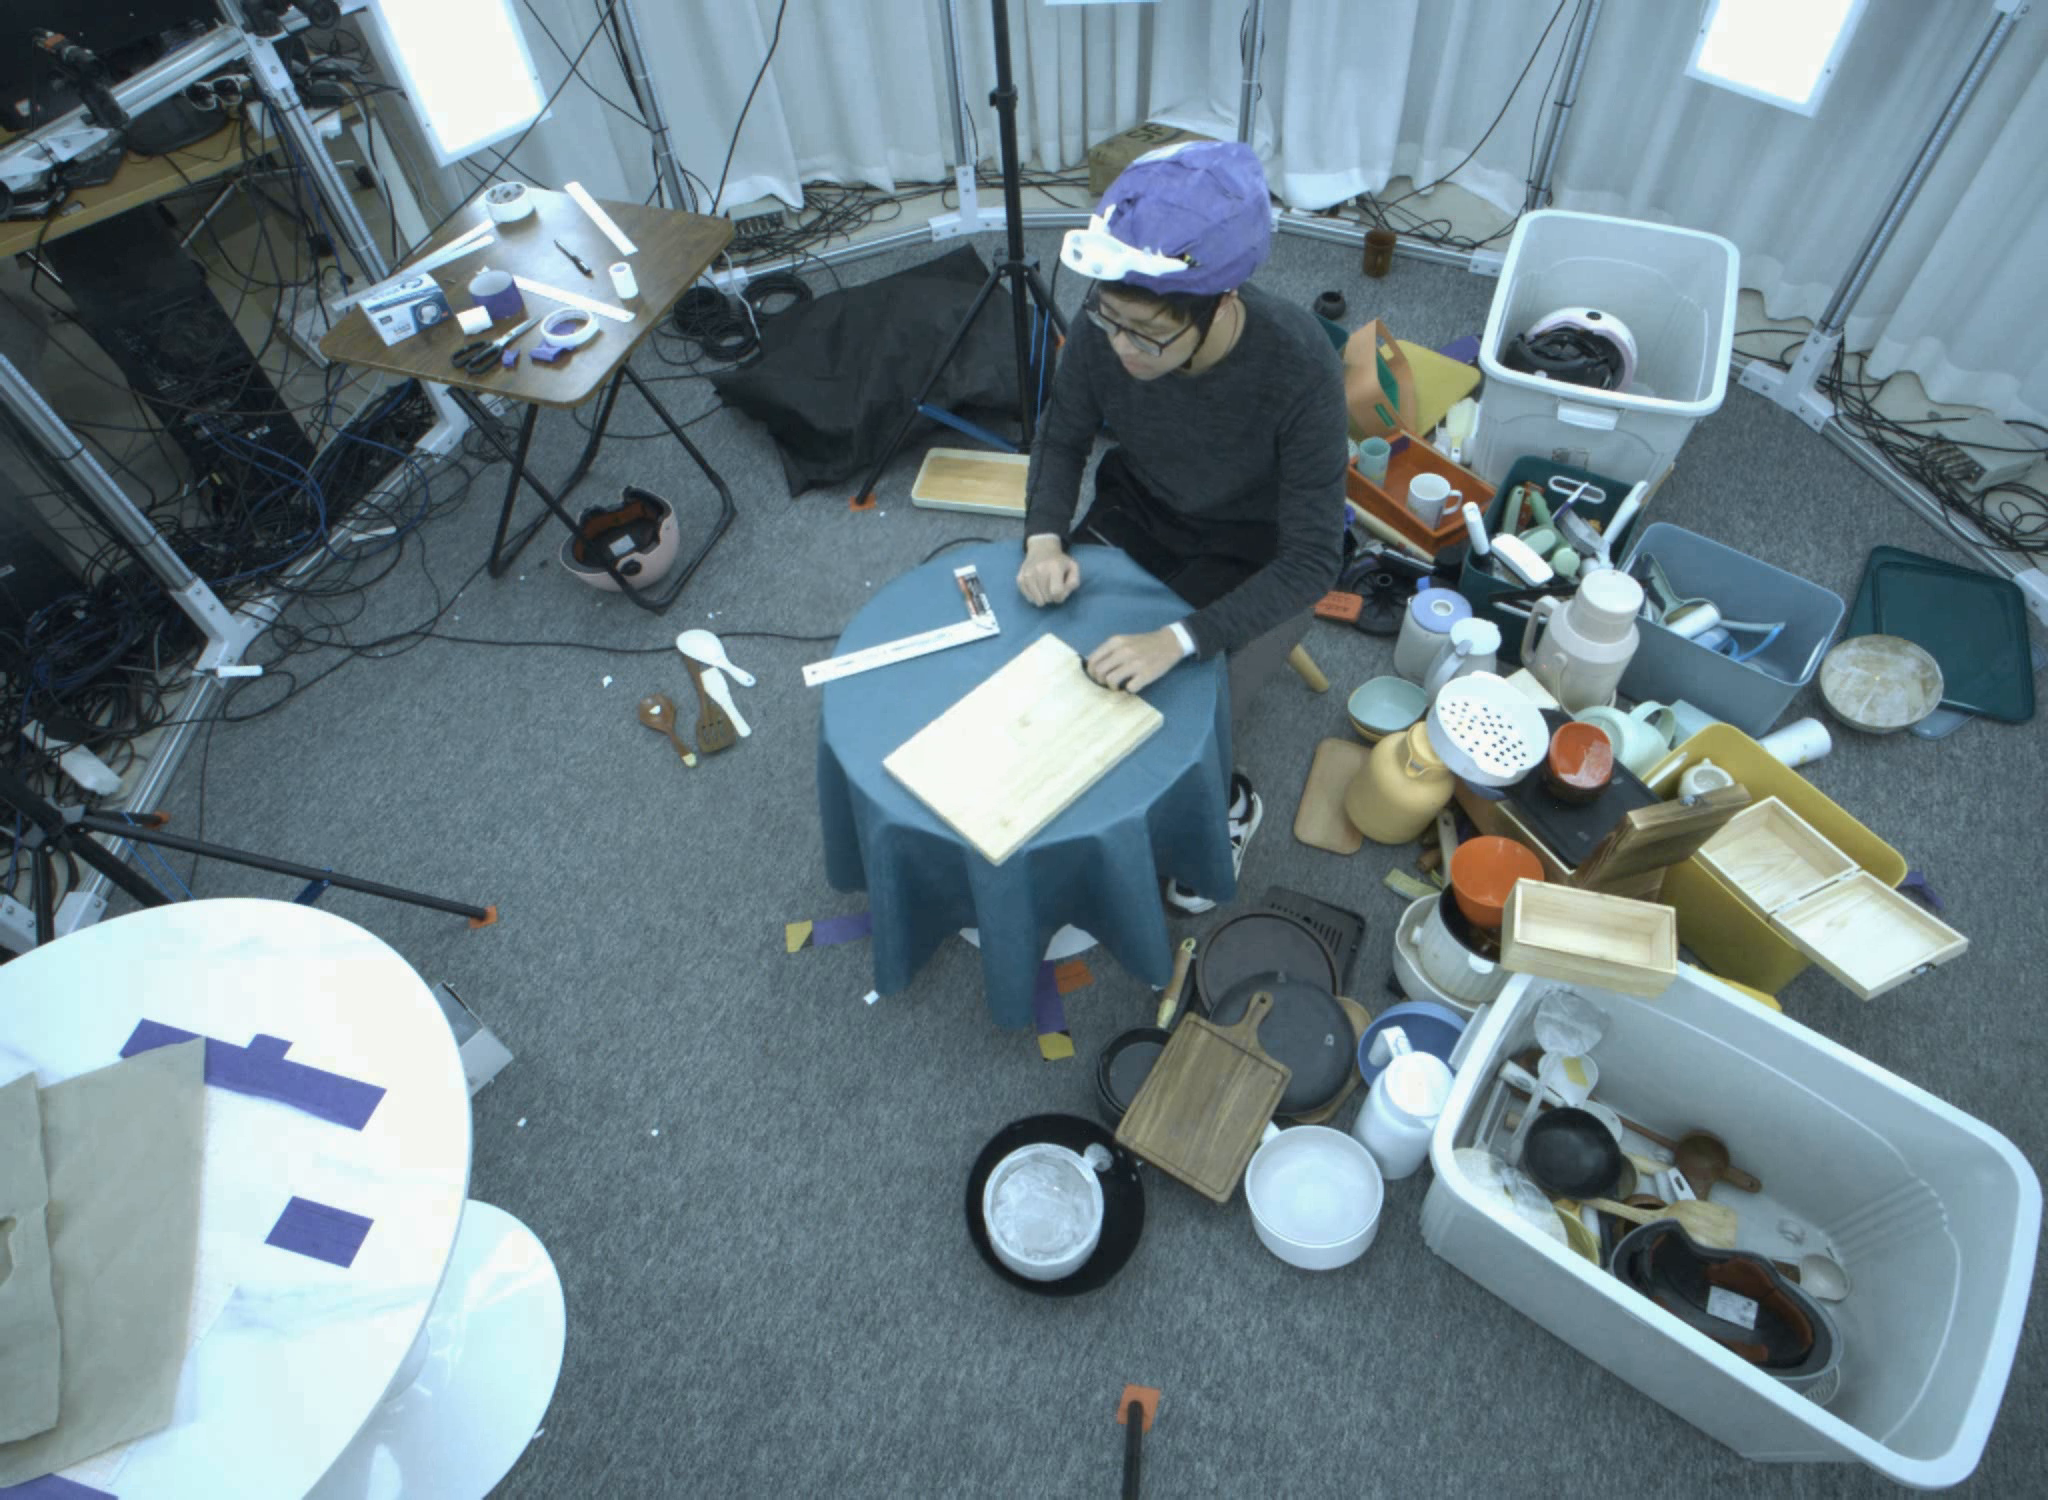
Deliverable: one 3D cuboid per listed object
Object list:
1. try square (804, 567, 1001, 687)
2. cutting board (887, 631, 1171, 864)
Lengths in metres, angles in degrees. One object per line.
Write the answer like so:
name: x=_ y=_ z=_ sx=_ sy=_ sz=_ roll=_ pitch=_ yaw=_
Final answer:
try square: x=-0.203 y=-0.196 z=1.931 sx=0.314 sy=0.016 sz=0.149 roll=-16 pitch=54 yaw=-8
cutting board: x=0.006 y=-0.014 z=1.788 sx=0.351 sy=0.024 sz=0.246 roll=-40 pitch=63 yaw=-23
